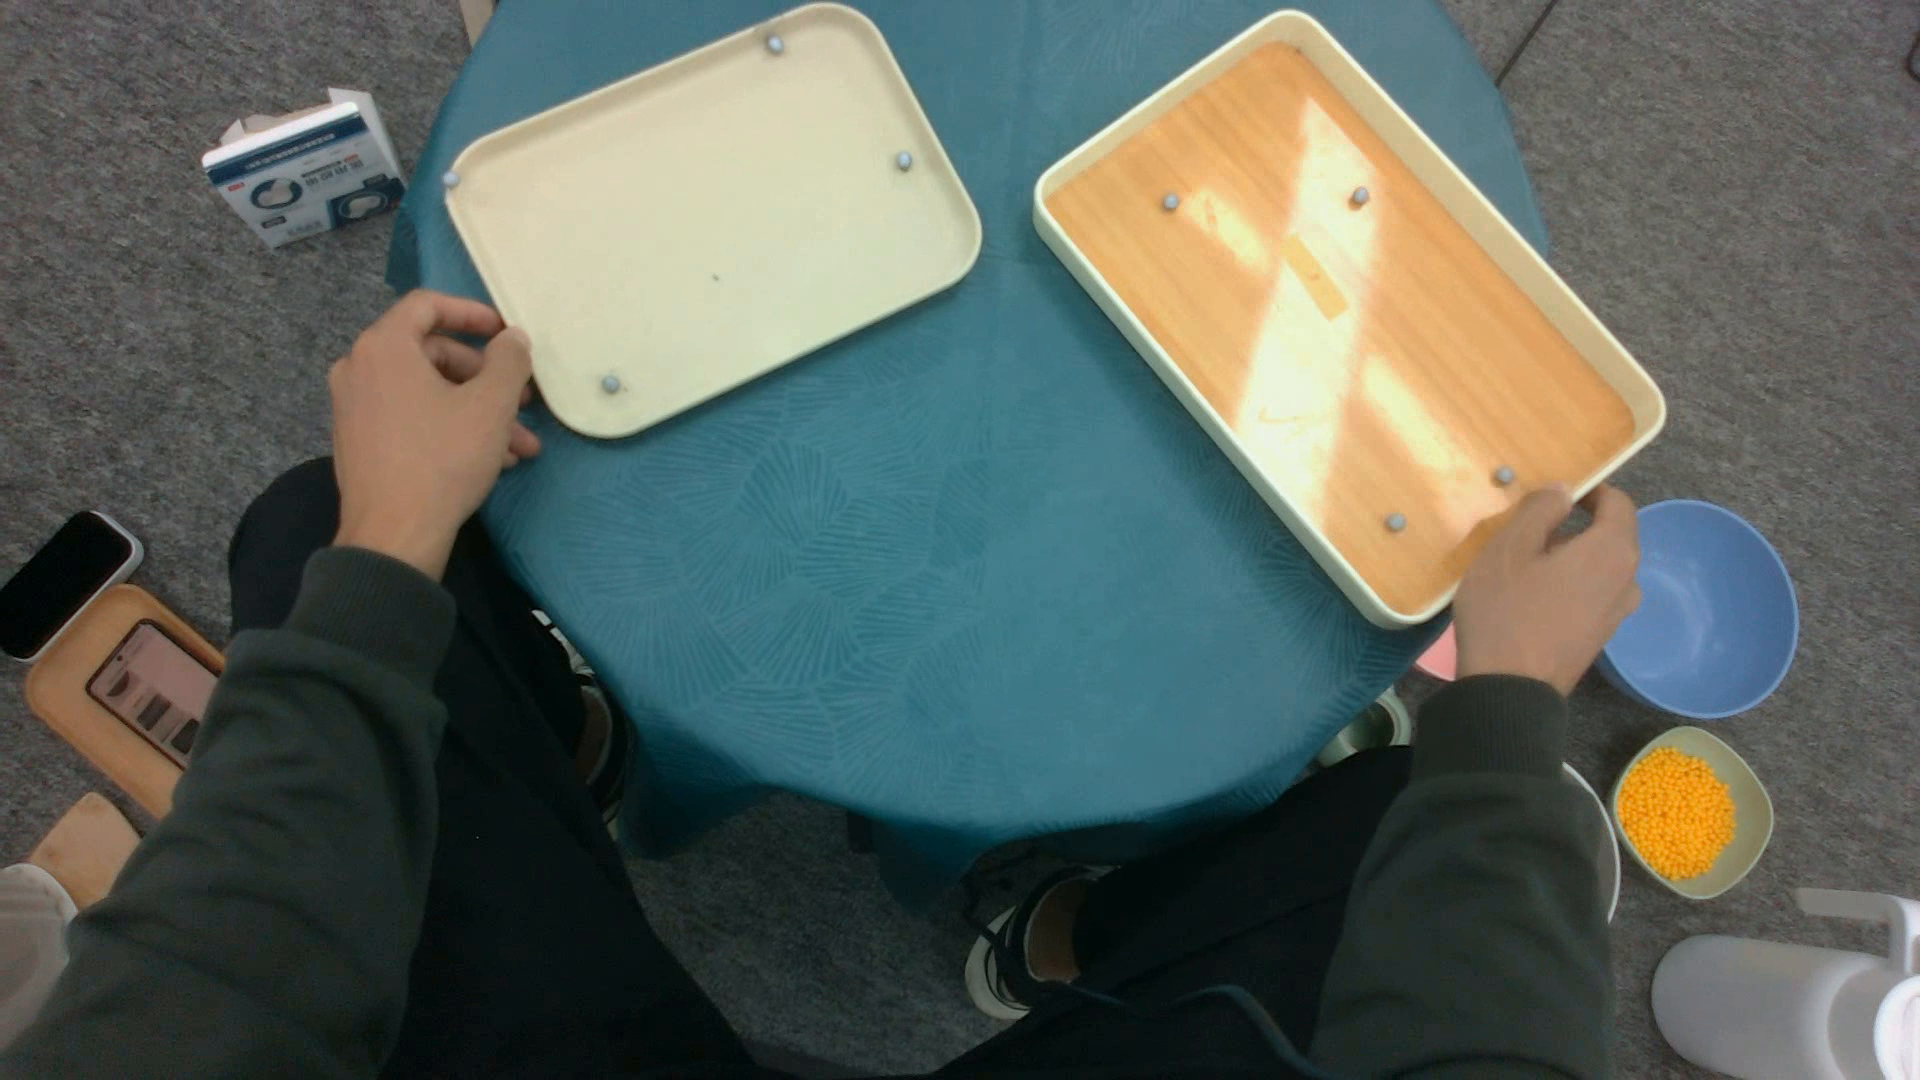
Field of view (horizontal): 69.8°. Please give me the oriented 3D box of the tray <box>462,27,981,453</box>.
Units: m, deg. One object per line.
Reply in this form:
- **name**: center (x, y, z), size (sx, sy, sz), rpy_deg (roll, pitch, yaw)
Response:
- **tray**: center (-0.122, -0.160, 0.724), size (0.240, 0.017, 0.171), rpy_deg (-28, 83, -11)

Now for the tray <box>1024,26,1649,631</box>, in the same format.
- **tray**: center (0.194, -0.119, 0.729), size (0.192, 0.027, 0.300), rpy_deg (-38, 79, -11)
